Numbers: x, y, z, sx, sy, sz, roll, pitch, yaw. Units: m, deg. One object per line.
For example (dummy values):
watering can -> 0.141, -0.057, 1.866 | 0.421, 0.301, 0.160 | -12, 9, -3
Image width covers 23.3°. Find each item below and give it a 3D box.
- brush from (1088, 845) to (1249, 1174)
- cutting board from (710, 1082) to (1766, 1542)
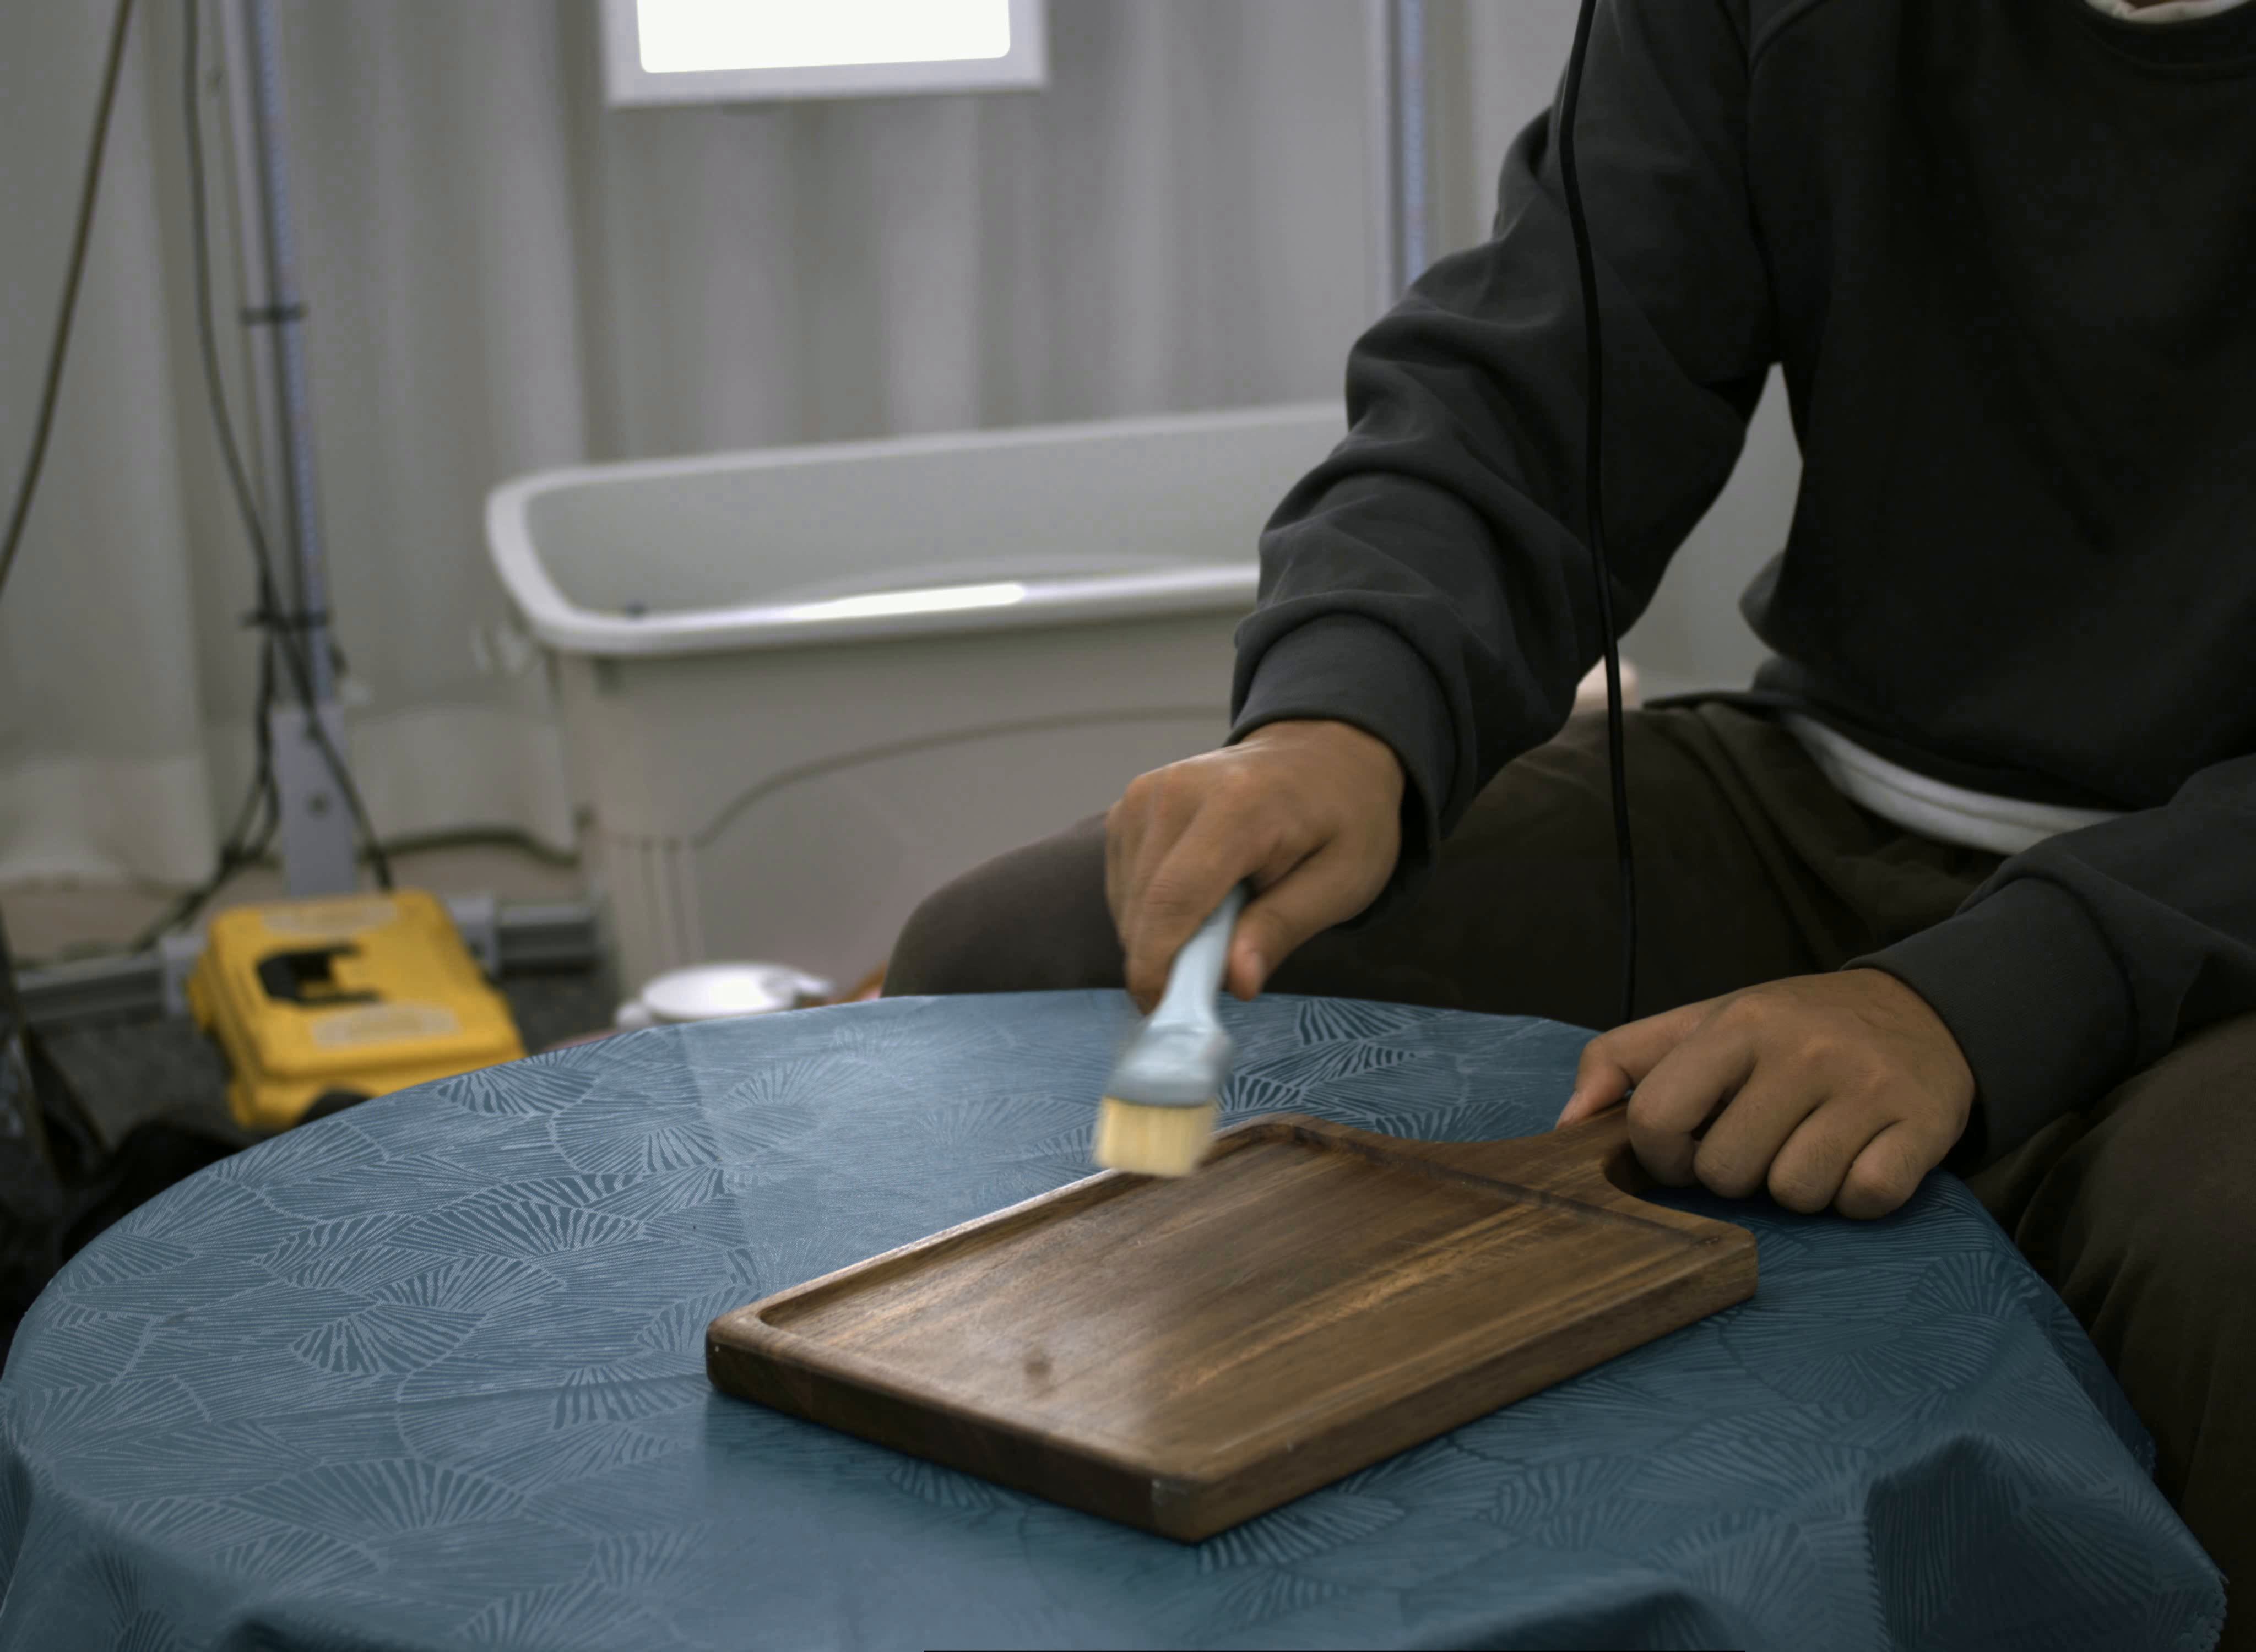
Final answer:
brush -> 0.016, 0.055, 1.655 | 0.037, 0.049, 0.230 | 6, 19, 4
cutting board -> 0.068, 0.129, 1.613 | 0.202, 0.023, 0.351 | 12, 21, 43
